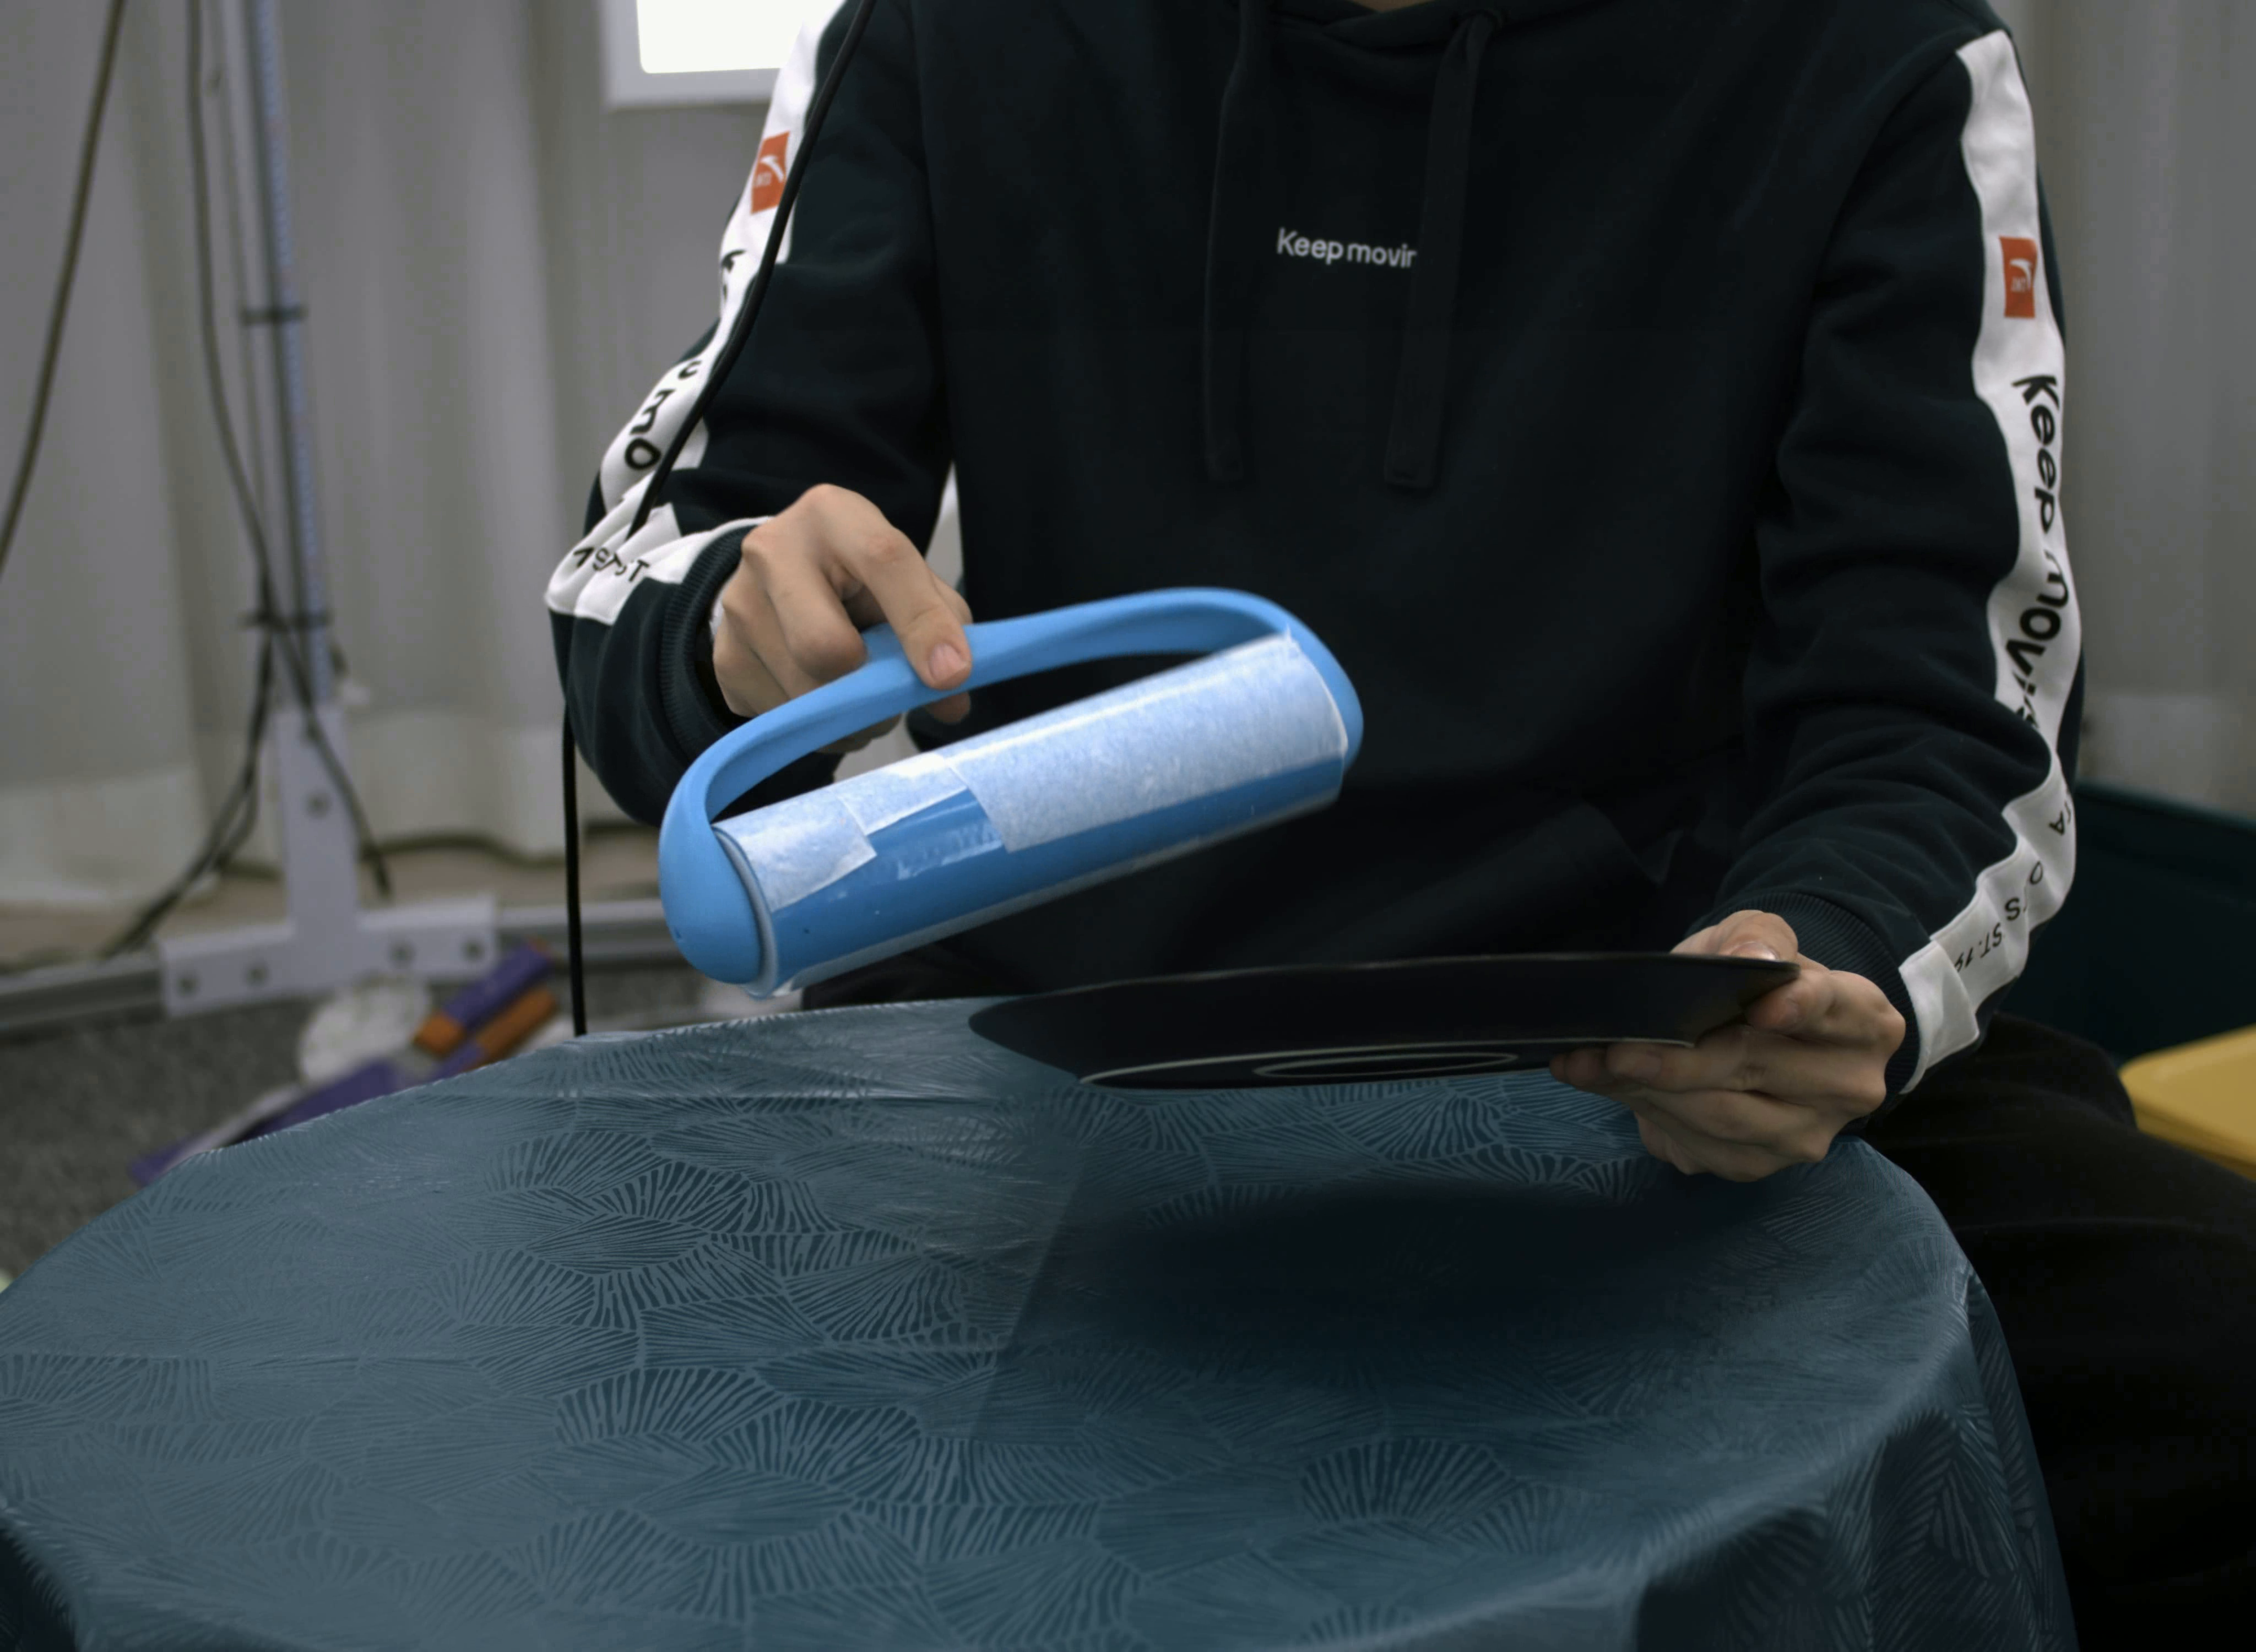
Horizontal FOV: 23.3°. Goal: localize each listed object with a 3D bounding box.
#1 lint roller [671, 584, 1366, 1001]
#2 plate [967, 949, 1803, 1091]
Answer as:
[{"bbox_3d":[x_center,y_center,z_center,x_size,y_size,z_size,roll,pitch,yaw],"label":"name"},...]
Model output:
[{"bbox_3d":[-0.061,-0.027,1.664,0.229,0.067,0.182,-23,32,-26],"label":"lint roller"},{"bbox_3d":[0.075,0.059,1.593,0.243,0.023,0.243,-3,-6,-1],"label":"plate"}]
